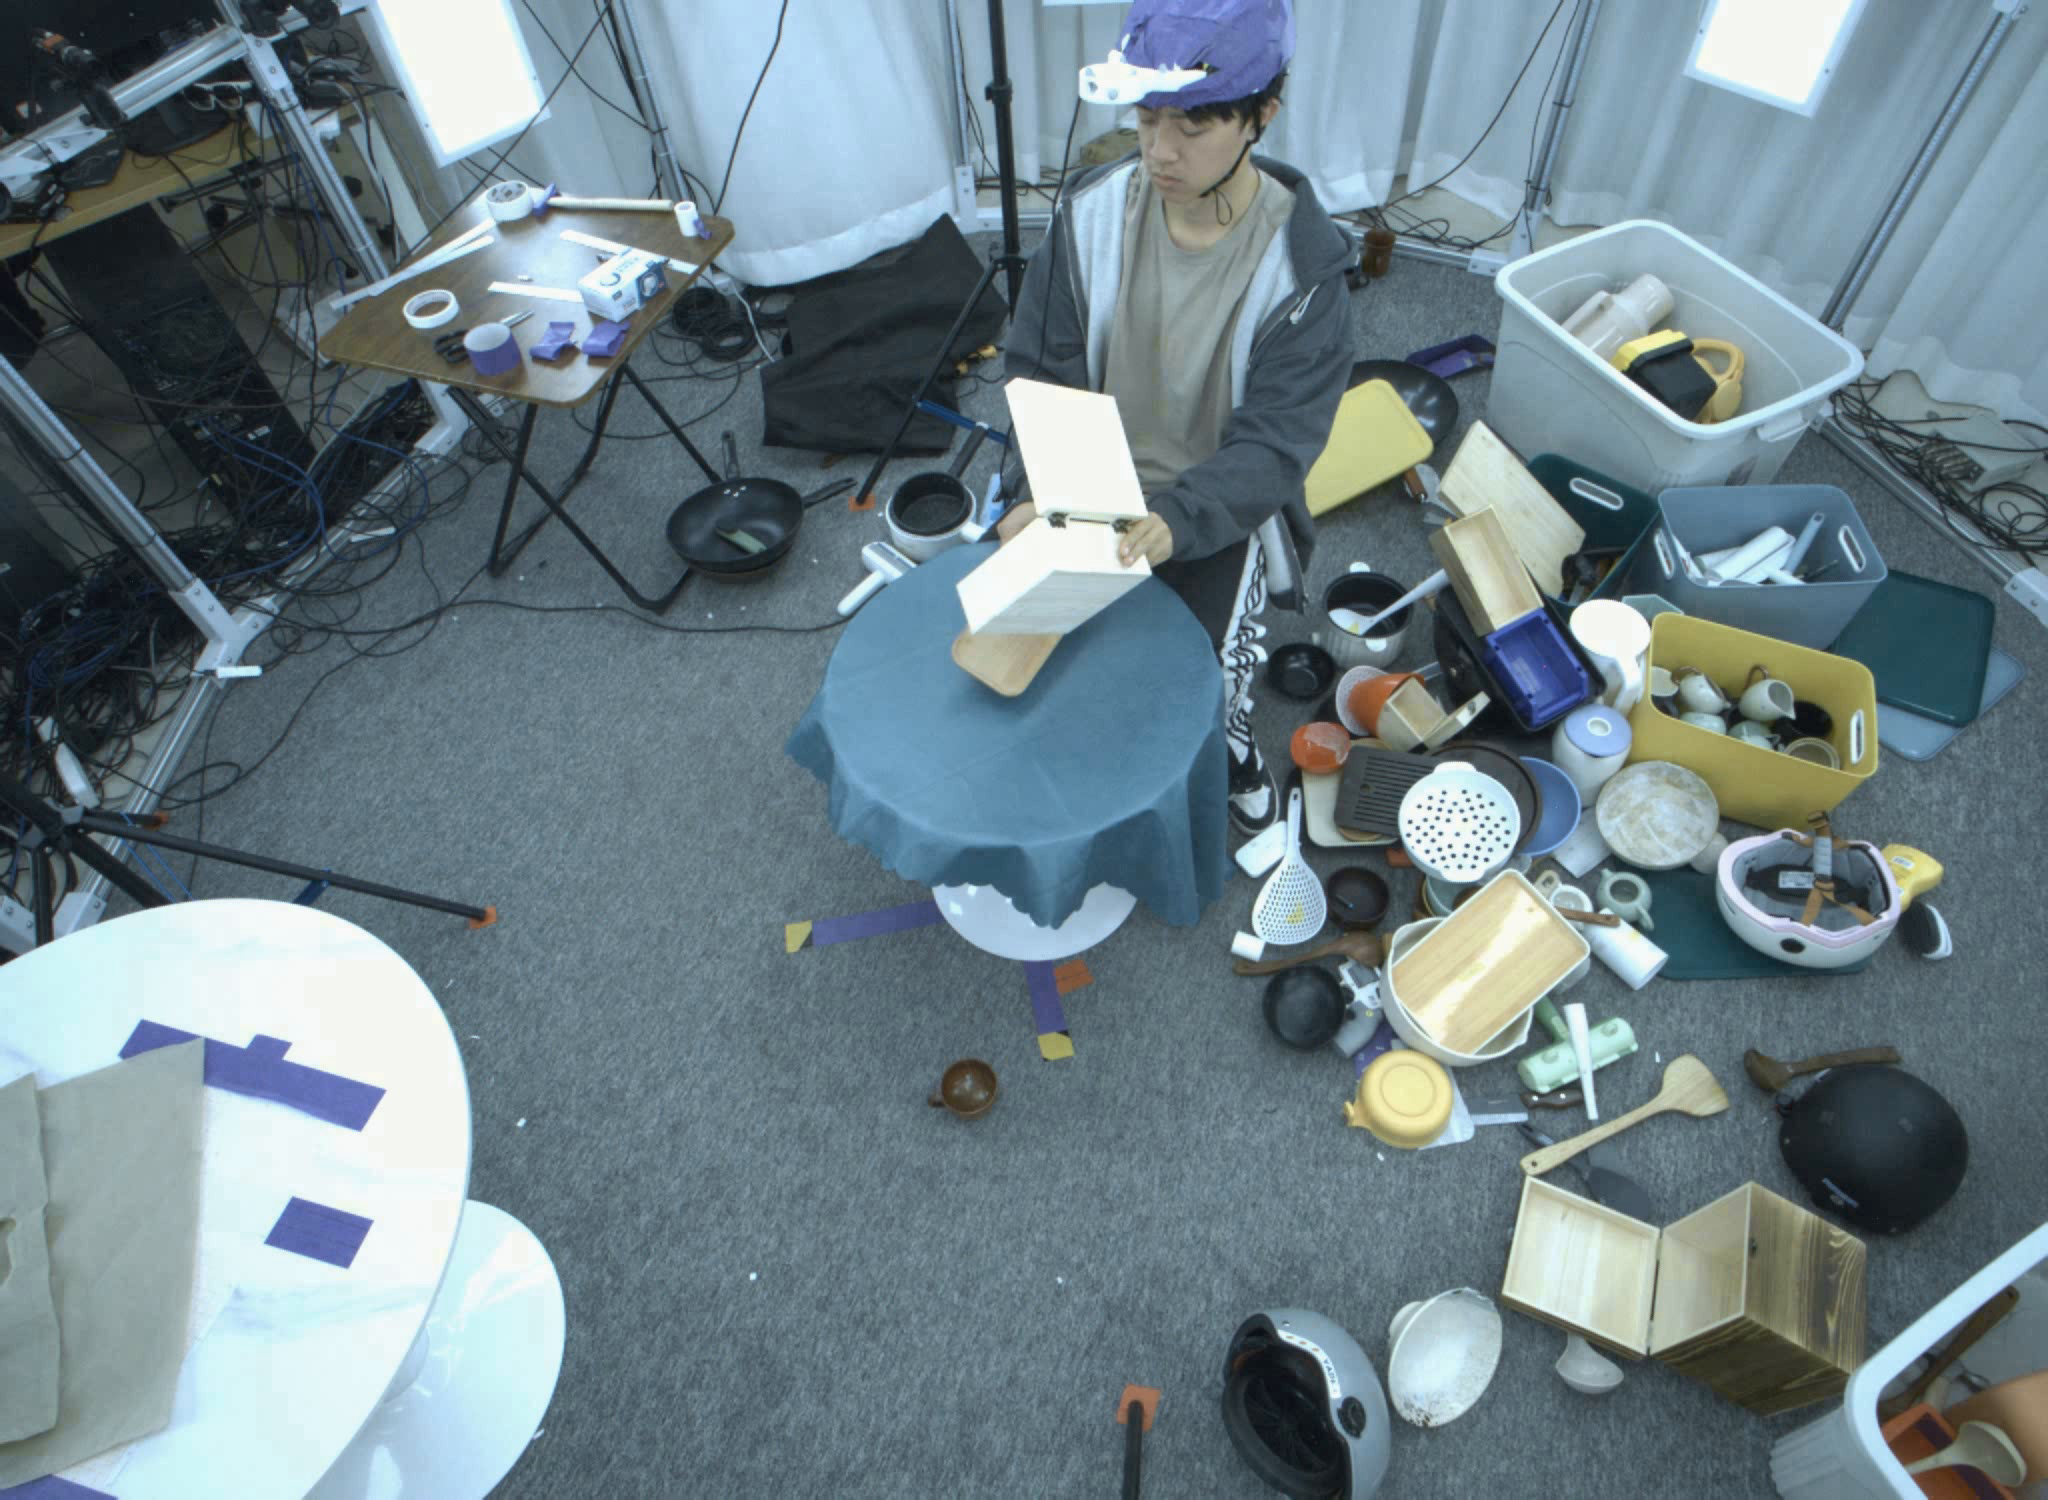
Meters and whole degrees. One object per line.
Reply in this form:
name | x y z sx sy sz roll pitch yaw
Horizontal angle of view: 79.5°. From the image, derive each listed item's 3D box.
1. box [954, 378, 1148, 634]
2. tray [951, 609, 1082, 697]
box | 0.028 -0.325 1.646 0.185 0.261 0.251 -9 75 -46
tray | -0.001 -0.198 1.853 0.131 0.023 0.251 36 67 -4
